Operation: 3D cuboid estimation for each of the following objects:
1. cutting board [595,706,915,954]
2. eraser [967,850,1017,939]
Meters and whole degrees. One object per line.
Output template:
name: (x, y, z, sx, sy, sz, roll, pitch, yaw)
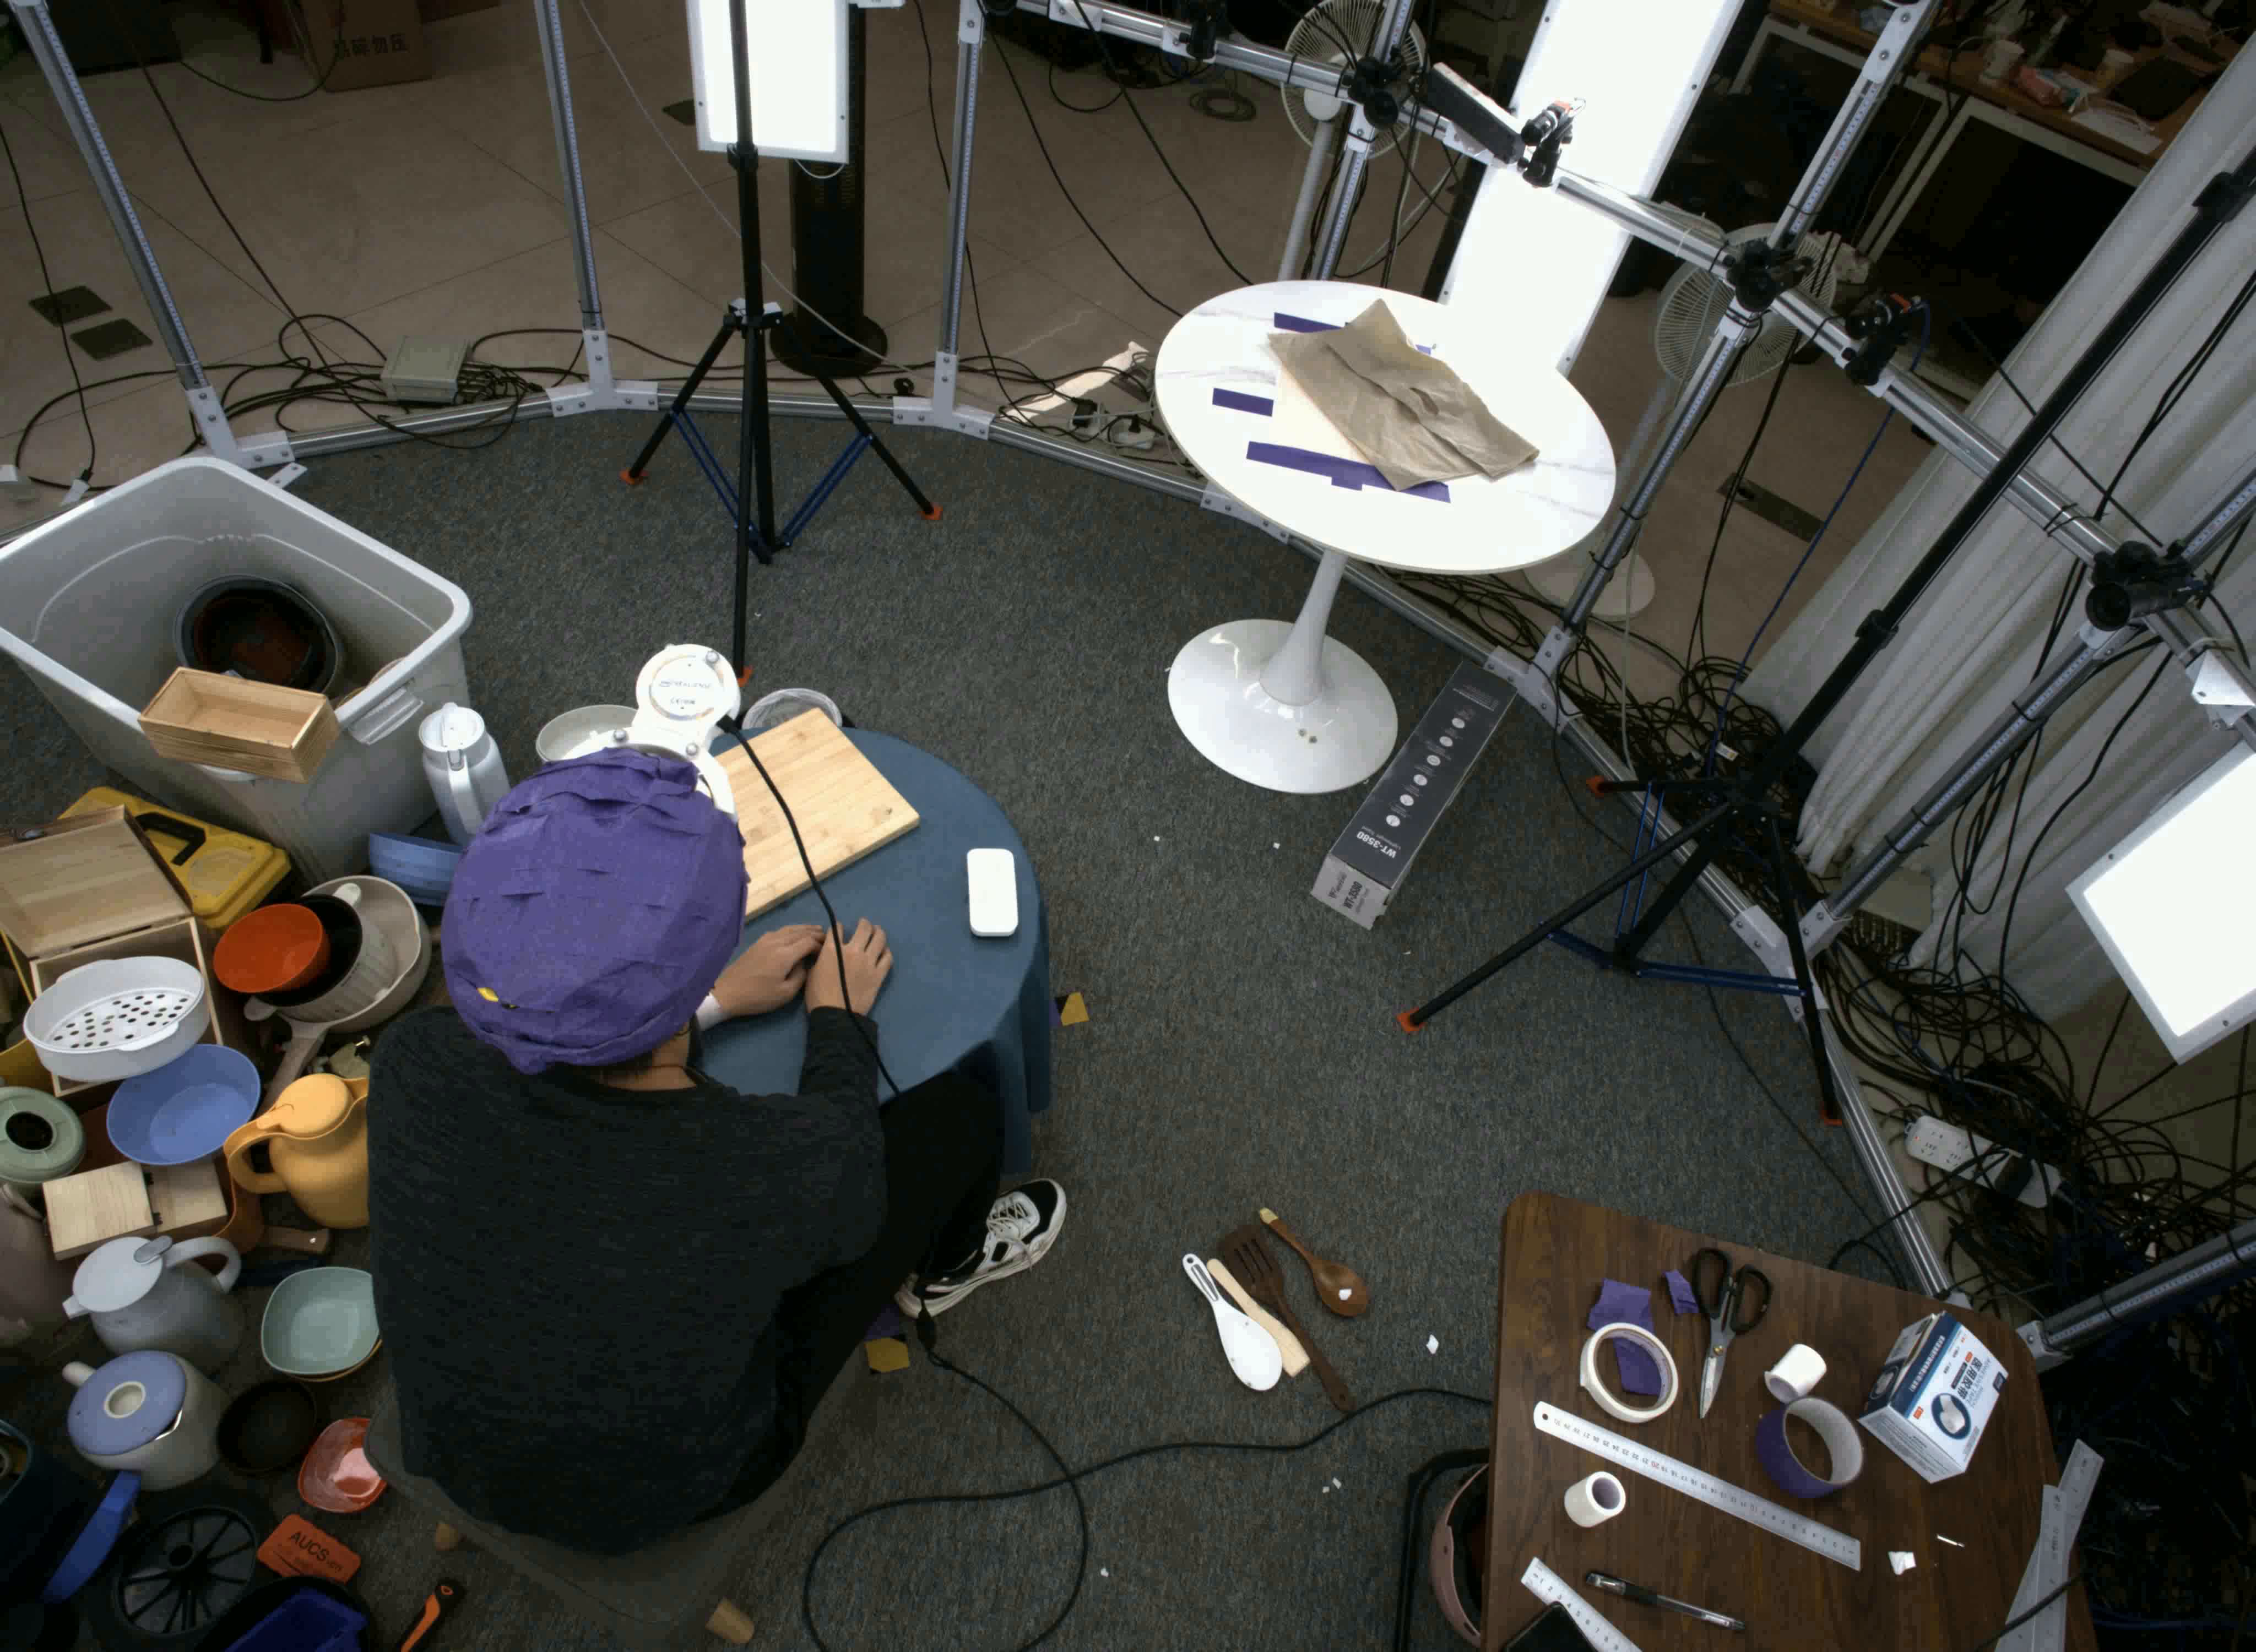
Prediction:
cutting board: (-0.486, -0.006, 1.697, 0.349, 0.024, 0.245, -34, 68, -32)
eraser: (-0.180, 0.085, 1.700, 0.063, 0.035, 0.128, 2, 52, -13)
